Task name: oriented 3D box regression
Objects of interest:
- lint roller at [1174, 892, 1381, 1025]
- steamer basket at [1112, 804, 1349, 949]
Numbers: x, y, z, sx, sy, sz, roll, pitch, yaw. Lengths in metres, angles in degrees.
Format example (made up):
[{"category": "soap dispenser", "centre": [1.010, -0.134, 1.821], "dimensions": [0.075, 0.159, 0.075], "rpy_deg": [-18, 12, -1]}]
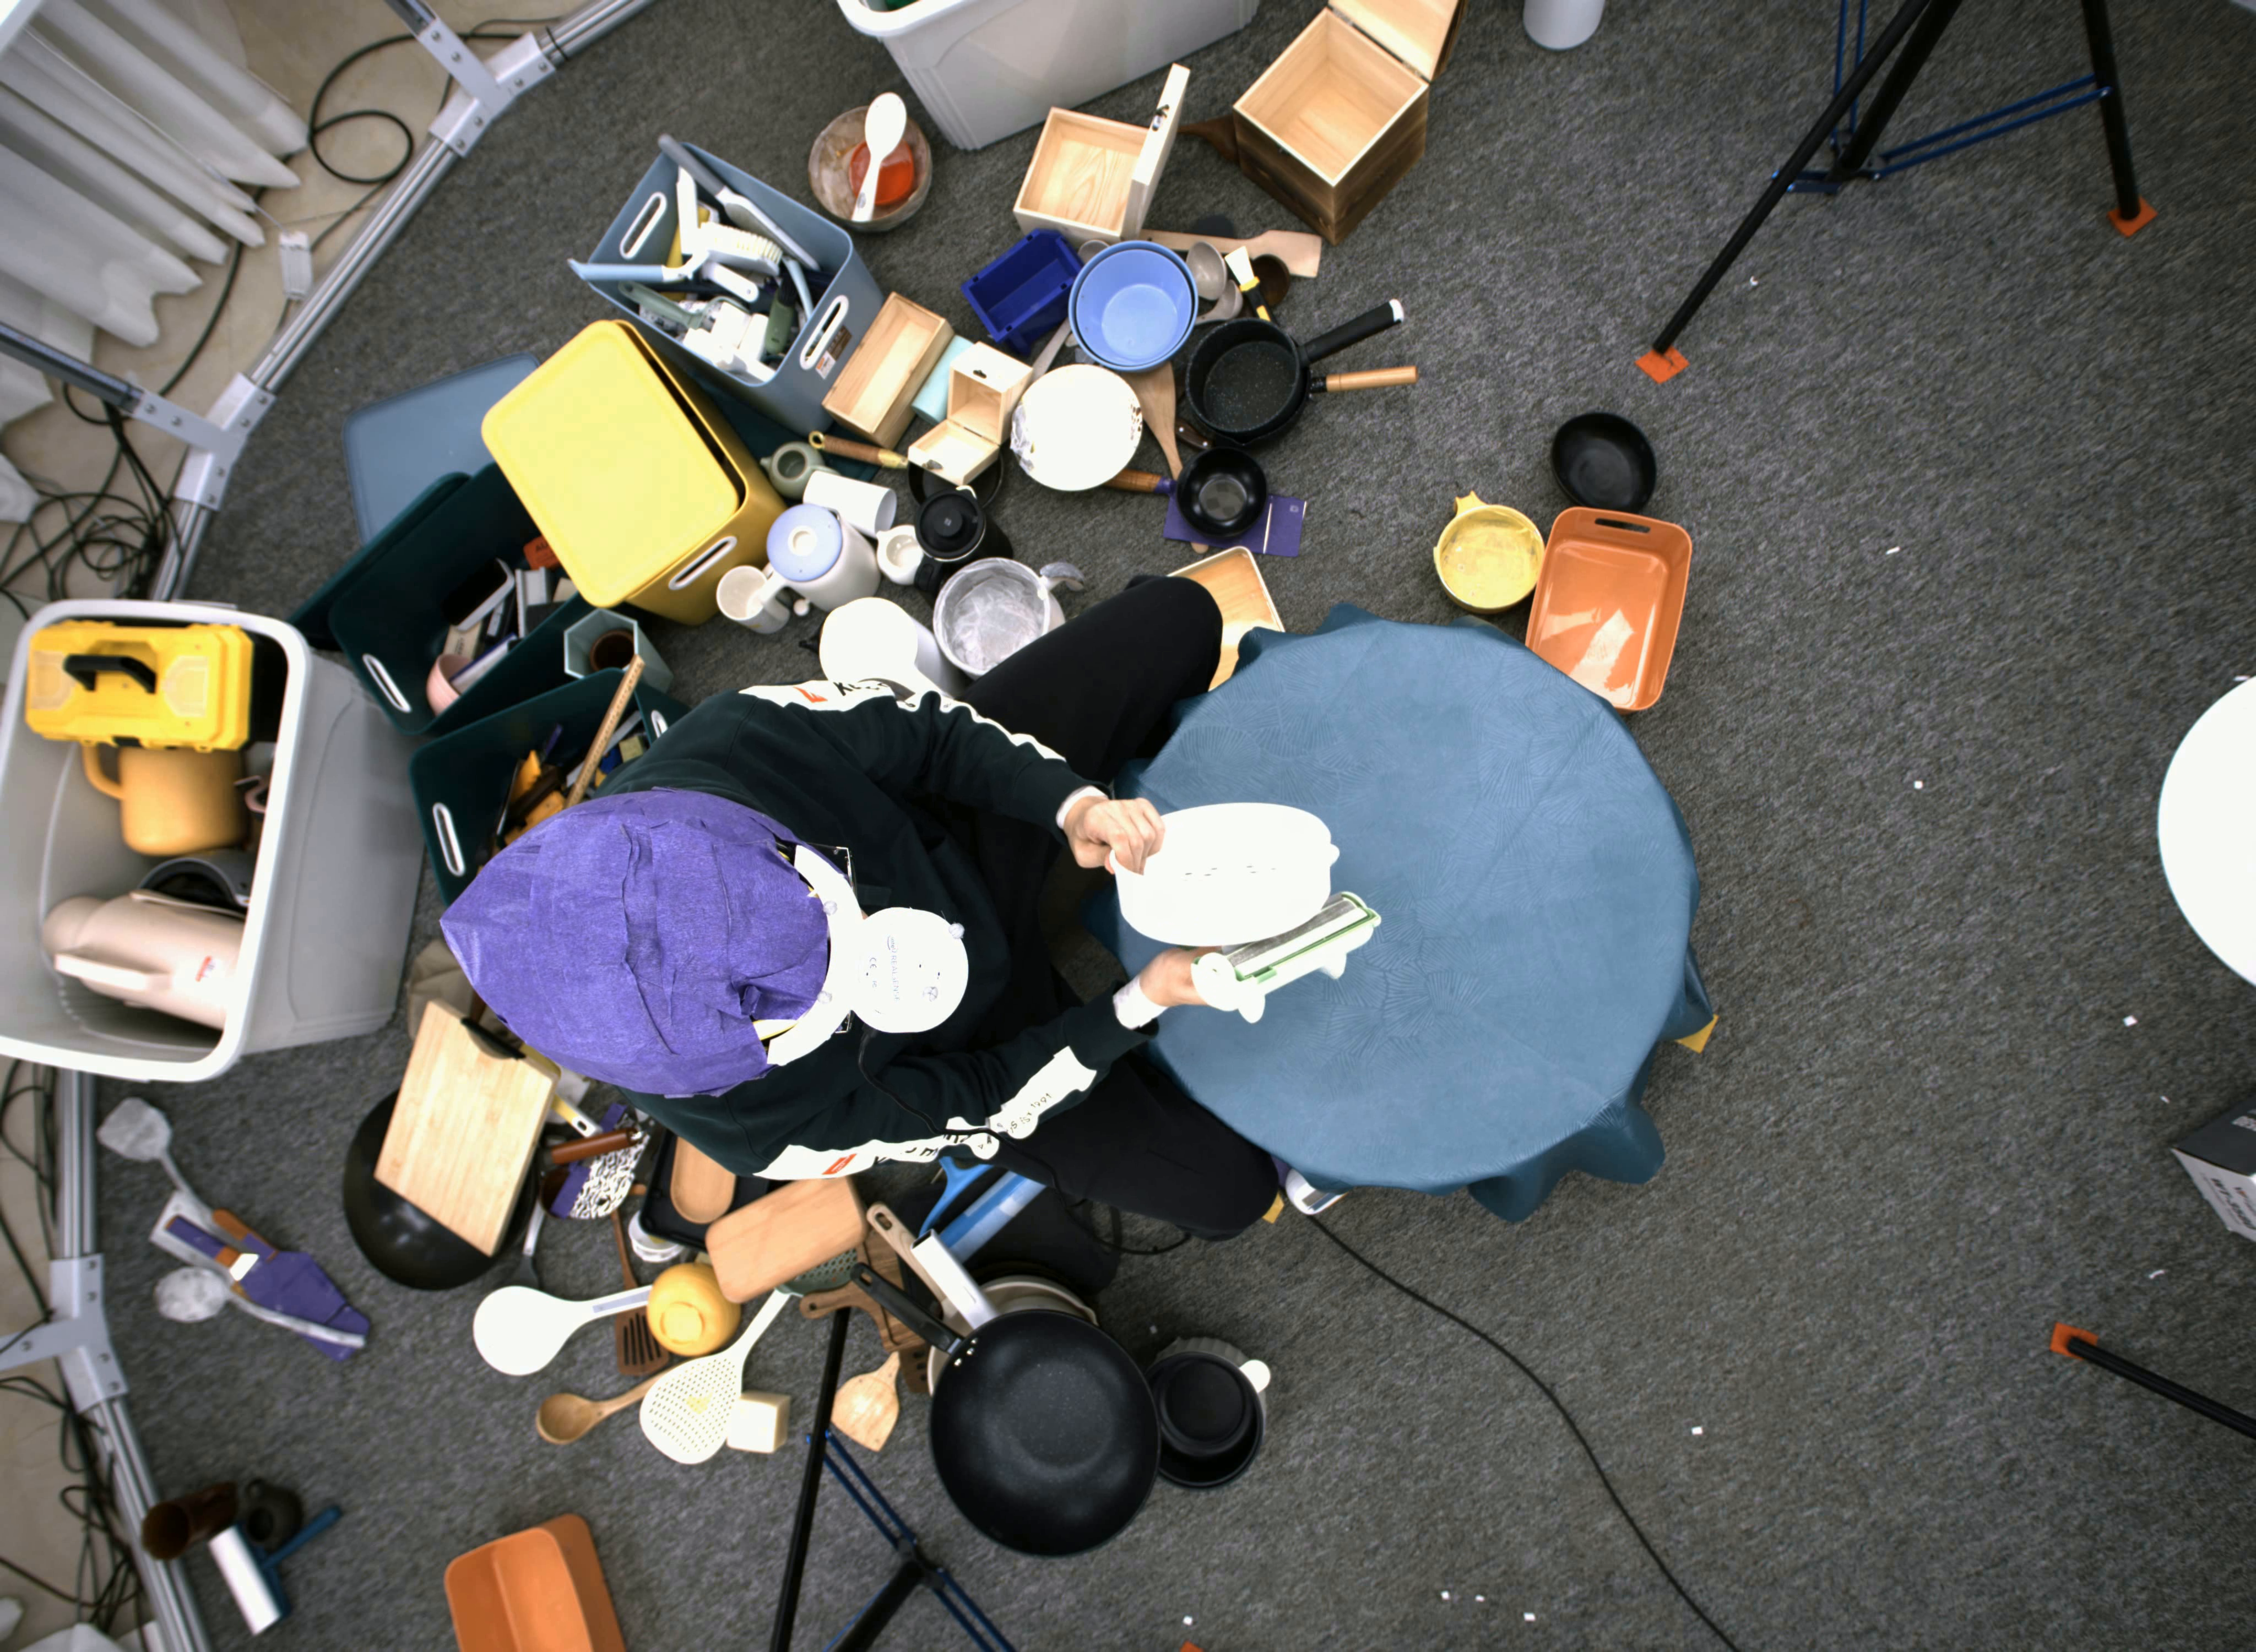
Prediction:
[{"category": "lint roller", "centre": [0.114, 0.133, 1.288], "dimensions": [0.186, 0.195, 0.082], "rpy_deg": [-26, 86, 51]}, {"category": "steamer basket", "centre": [0.091, 0.044, 1.259], "dimensions": [0.231, 0.198, 0.070], "rpy_deg": [10, 117, 37]}]
